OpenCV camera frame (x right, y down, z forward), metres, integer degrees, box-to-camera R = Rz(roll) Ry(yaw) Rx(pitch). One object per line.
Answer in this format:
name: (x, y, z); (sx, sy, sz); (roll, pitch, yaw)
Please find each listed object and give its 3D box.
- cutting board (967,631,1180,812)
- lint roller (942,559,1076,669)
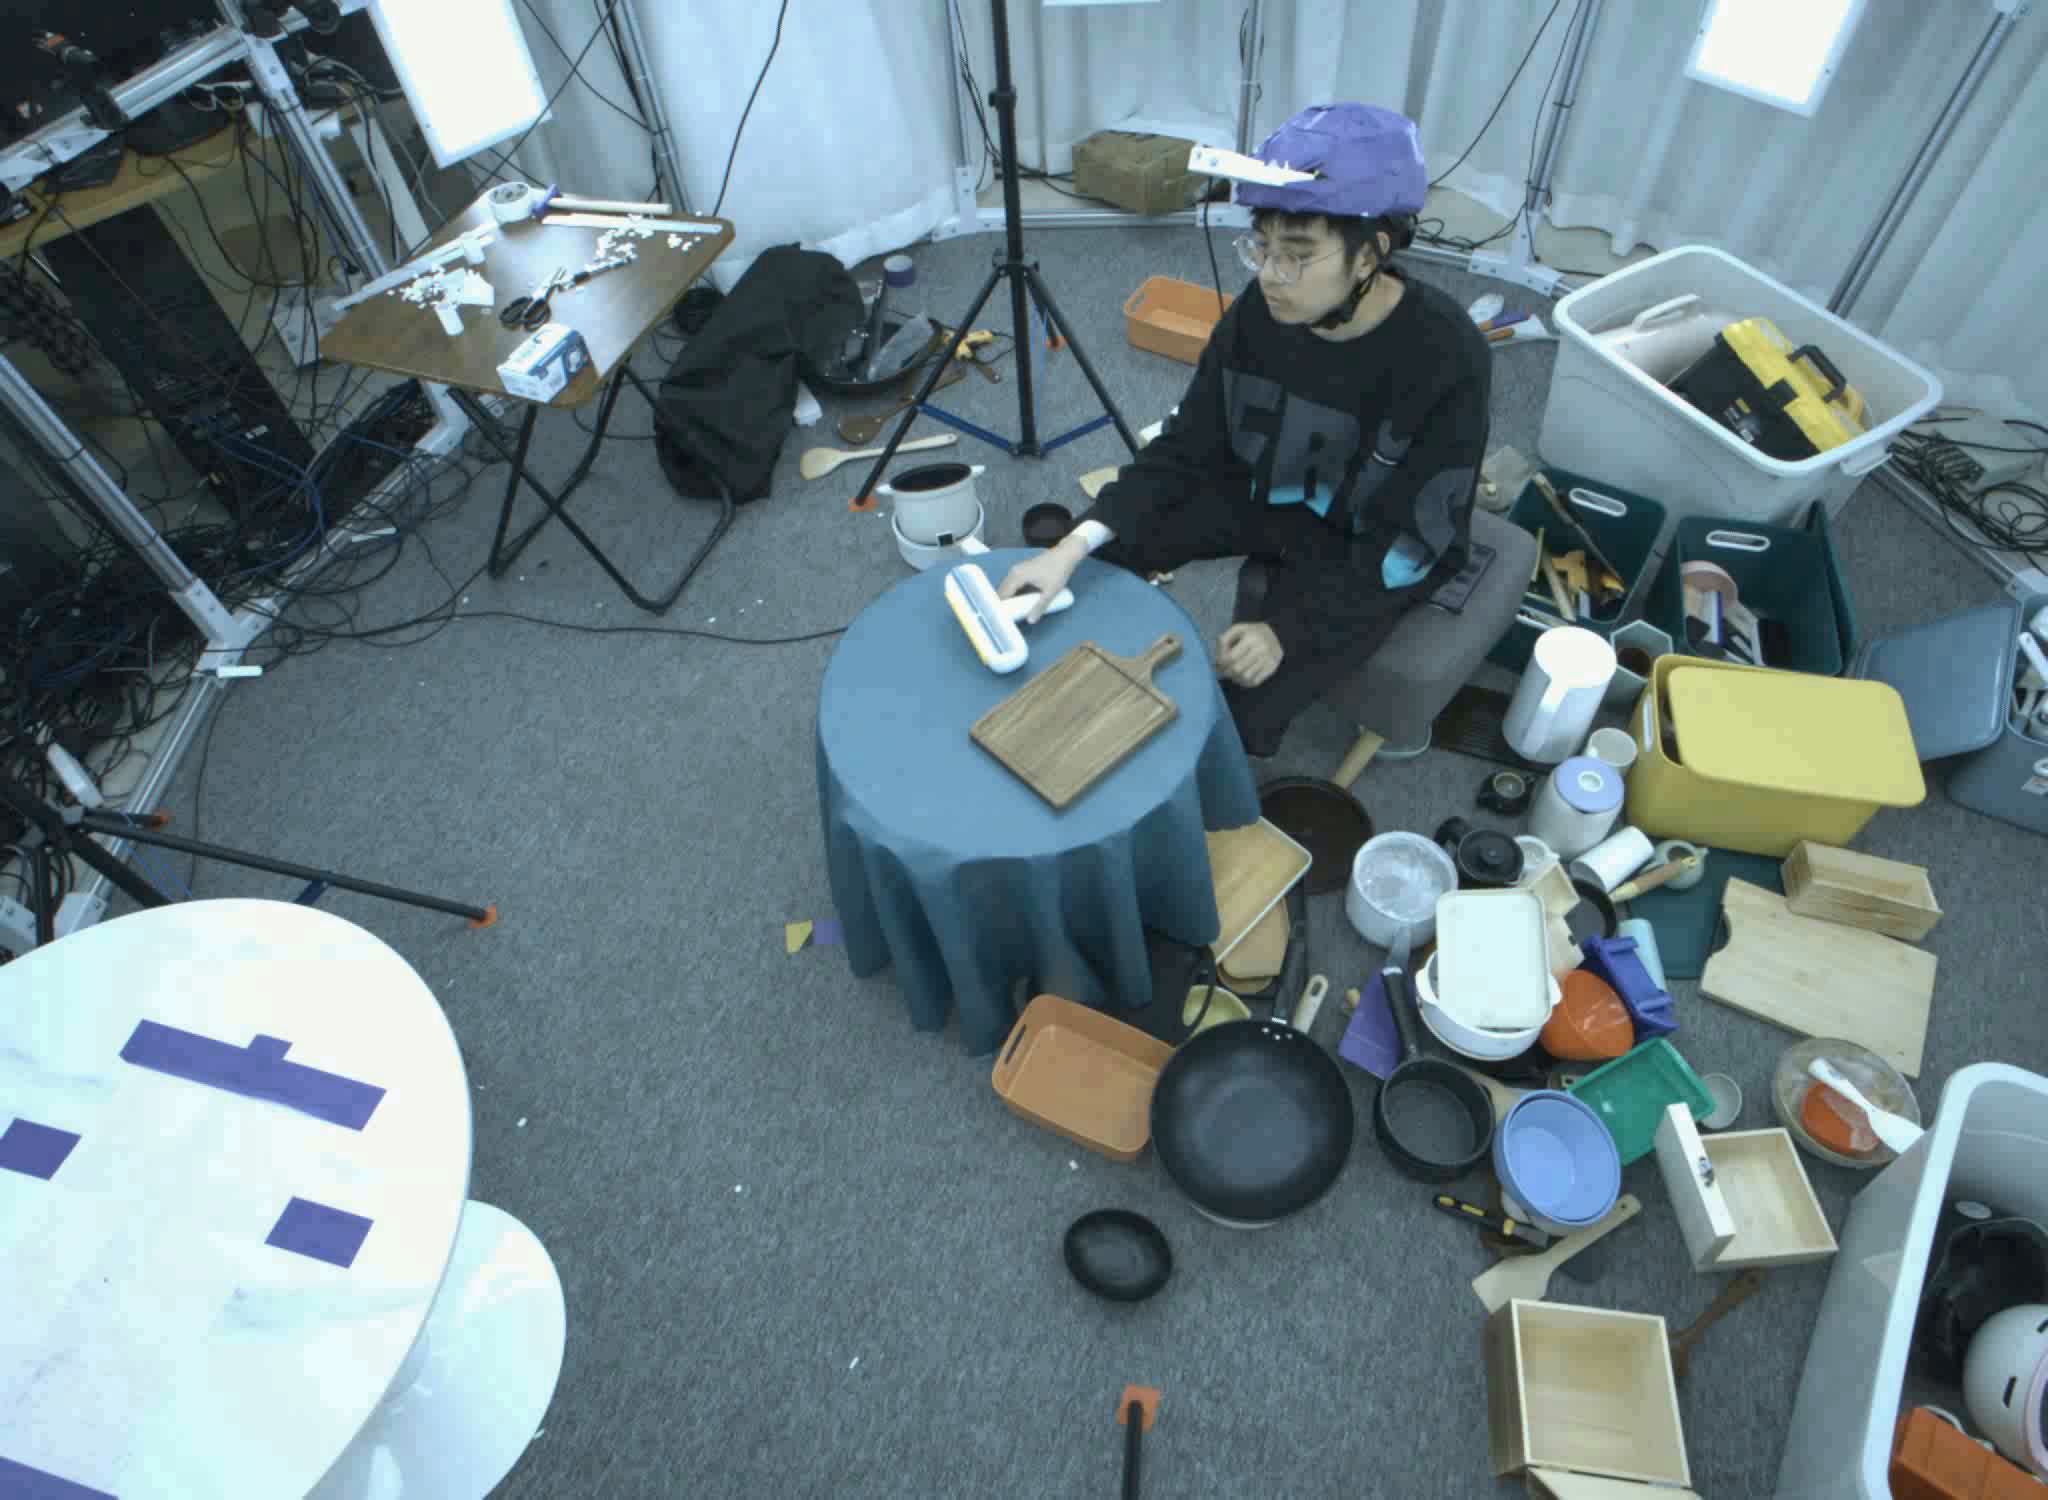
cutting board: (0.106, -0.070, 1.817); (0.355, 0.023, 0.197); (-39, 62, -23)
lint roller: (-0.010, -0.223, 1.901); (0.194, 0.075, 0.190); (-20, 62, -14)
